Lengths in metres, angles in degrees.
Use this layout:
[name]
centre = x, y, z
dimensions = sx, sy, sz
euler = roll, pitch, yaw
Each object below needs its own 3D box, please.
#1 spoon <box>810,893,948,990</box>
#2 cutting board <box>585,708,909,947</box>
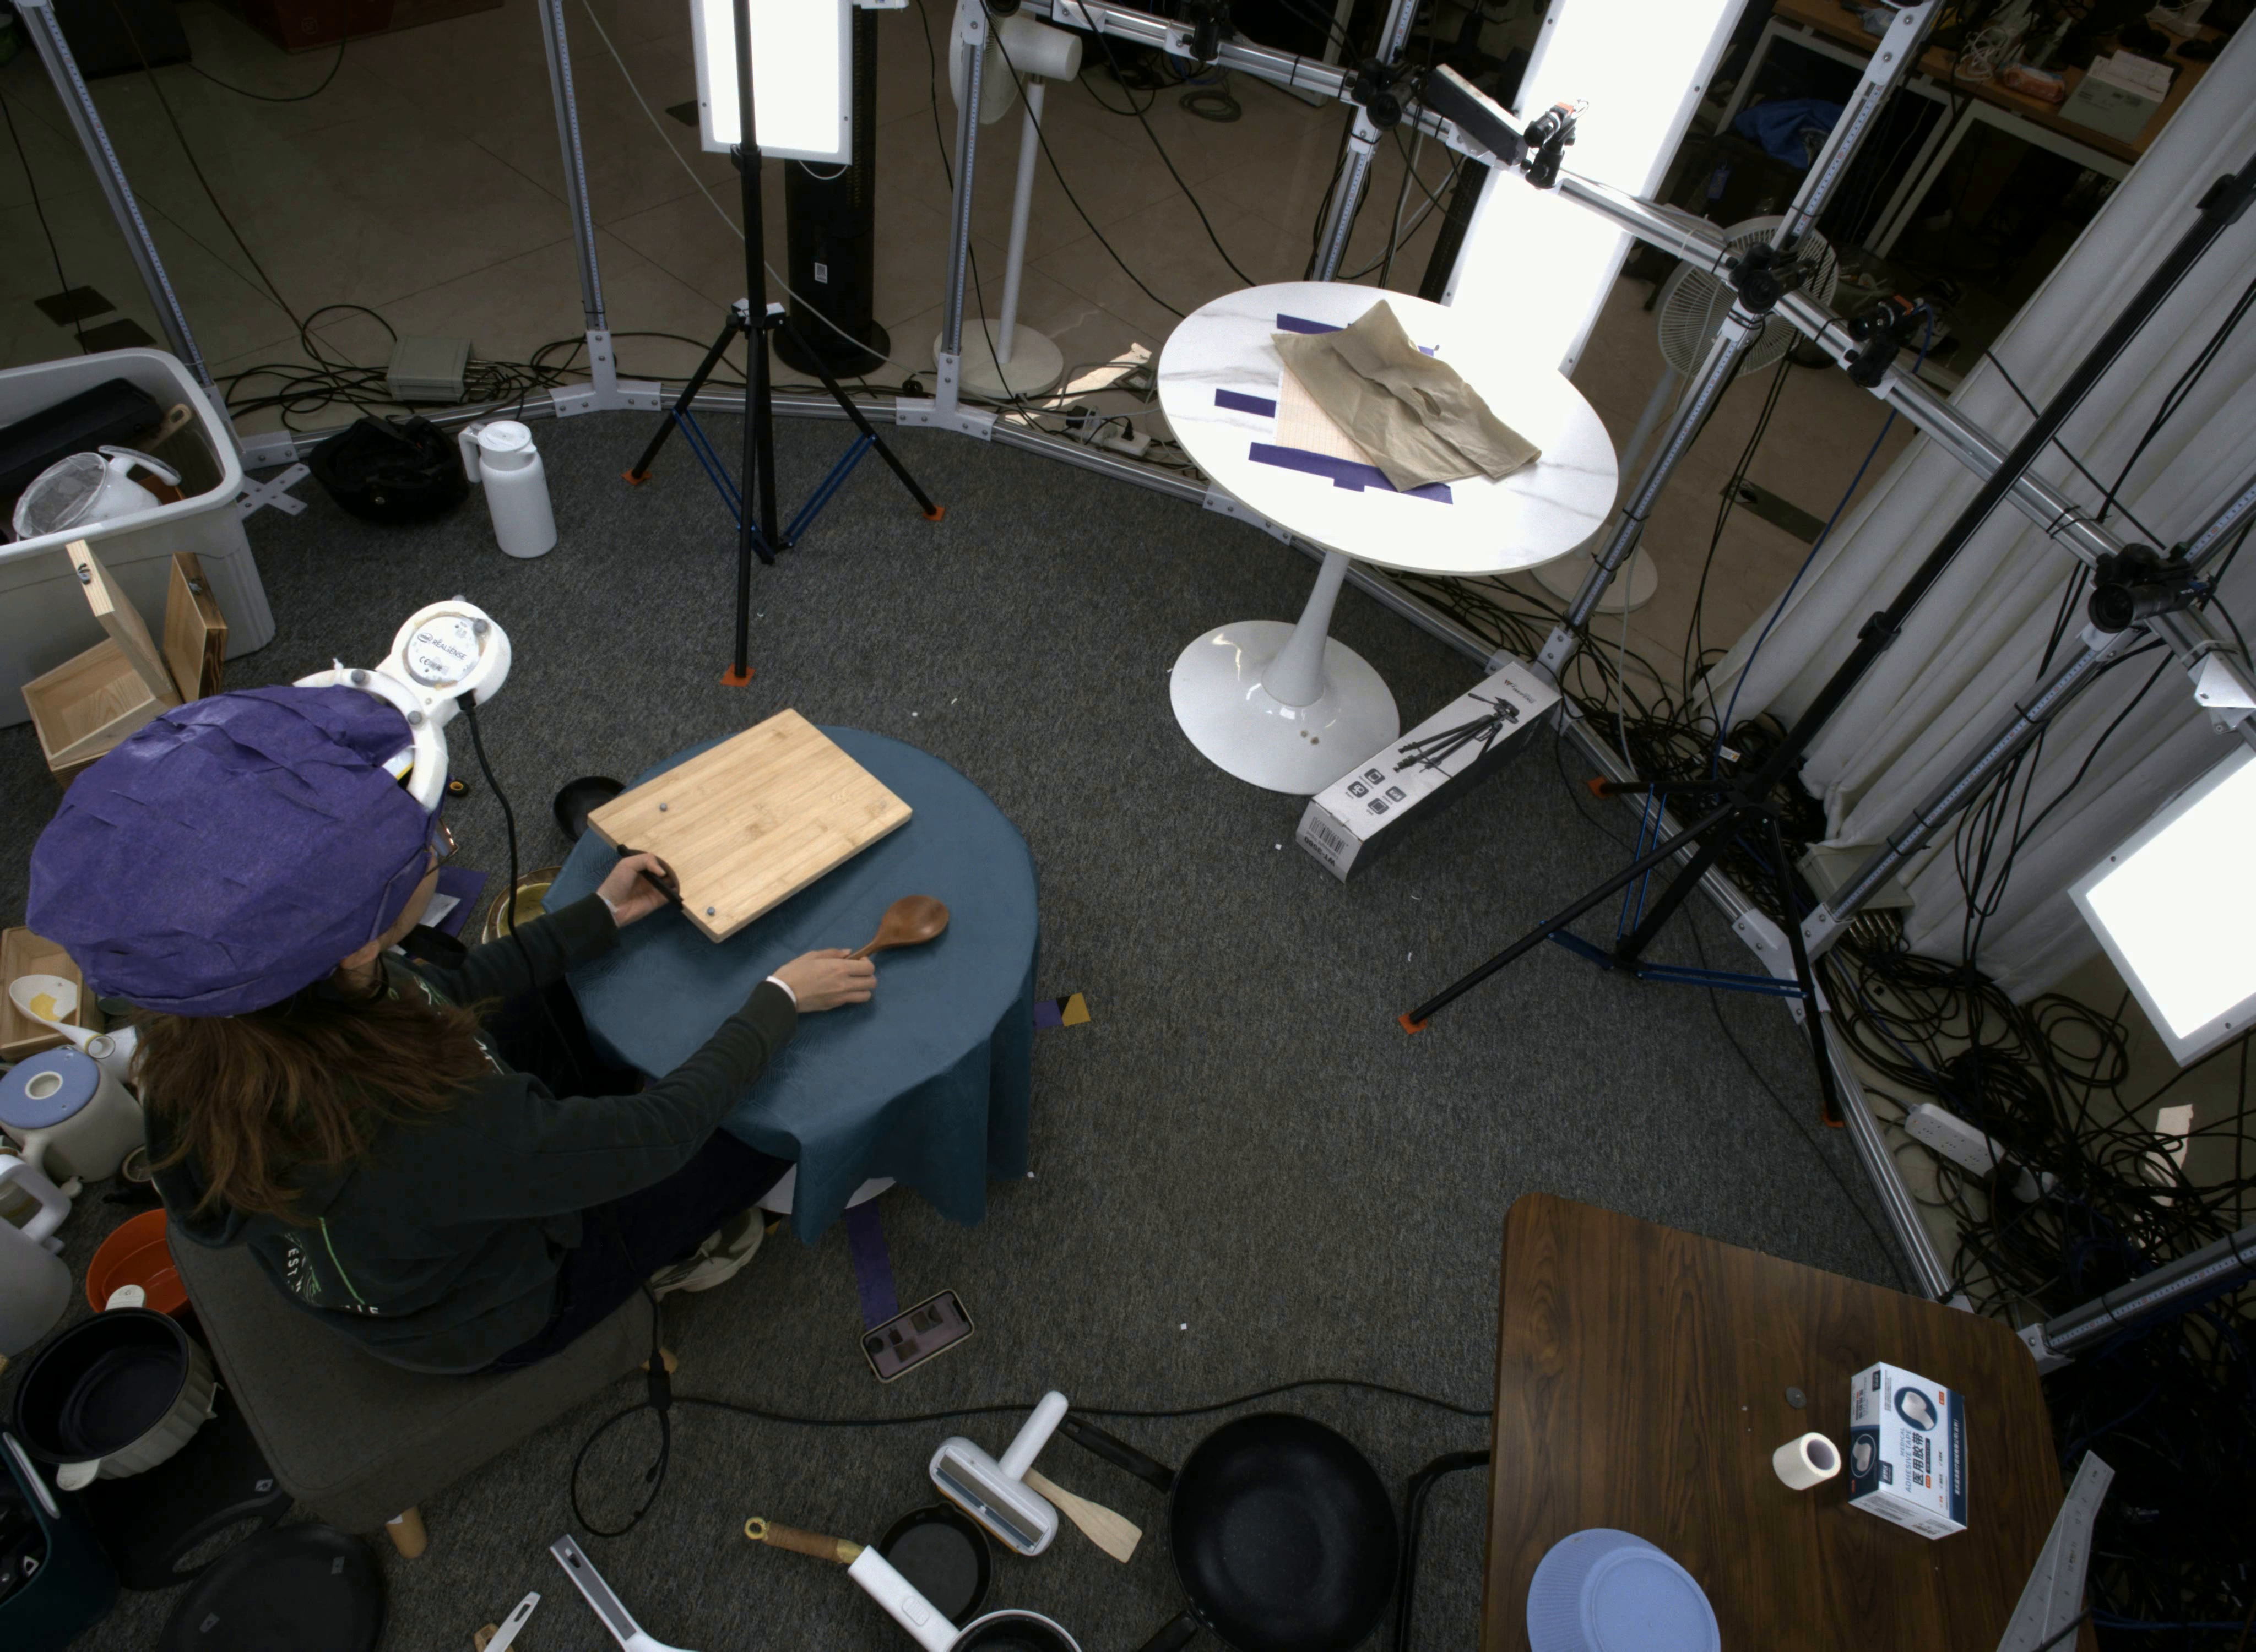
[spoon]
centre = -0.311, 0.144, 1.621
dimensions = 0.074, 0.017, 0.217
euler = 38, 43, 18
[cutting board]
centre = -0.484, -0.011, 1.666
dimensions = 0.246, 0.024, 0.349
euler = 38, 44, 12
